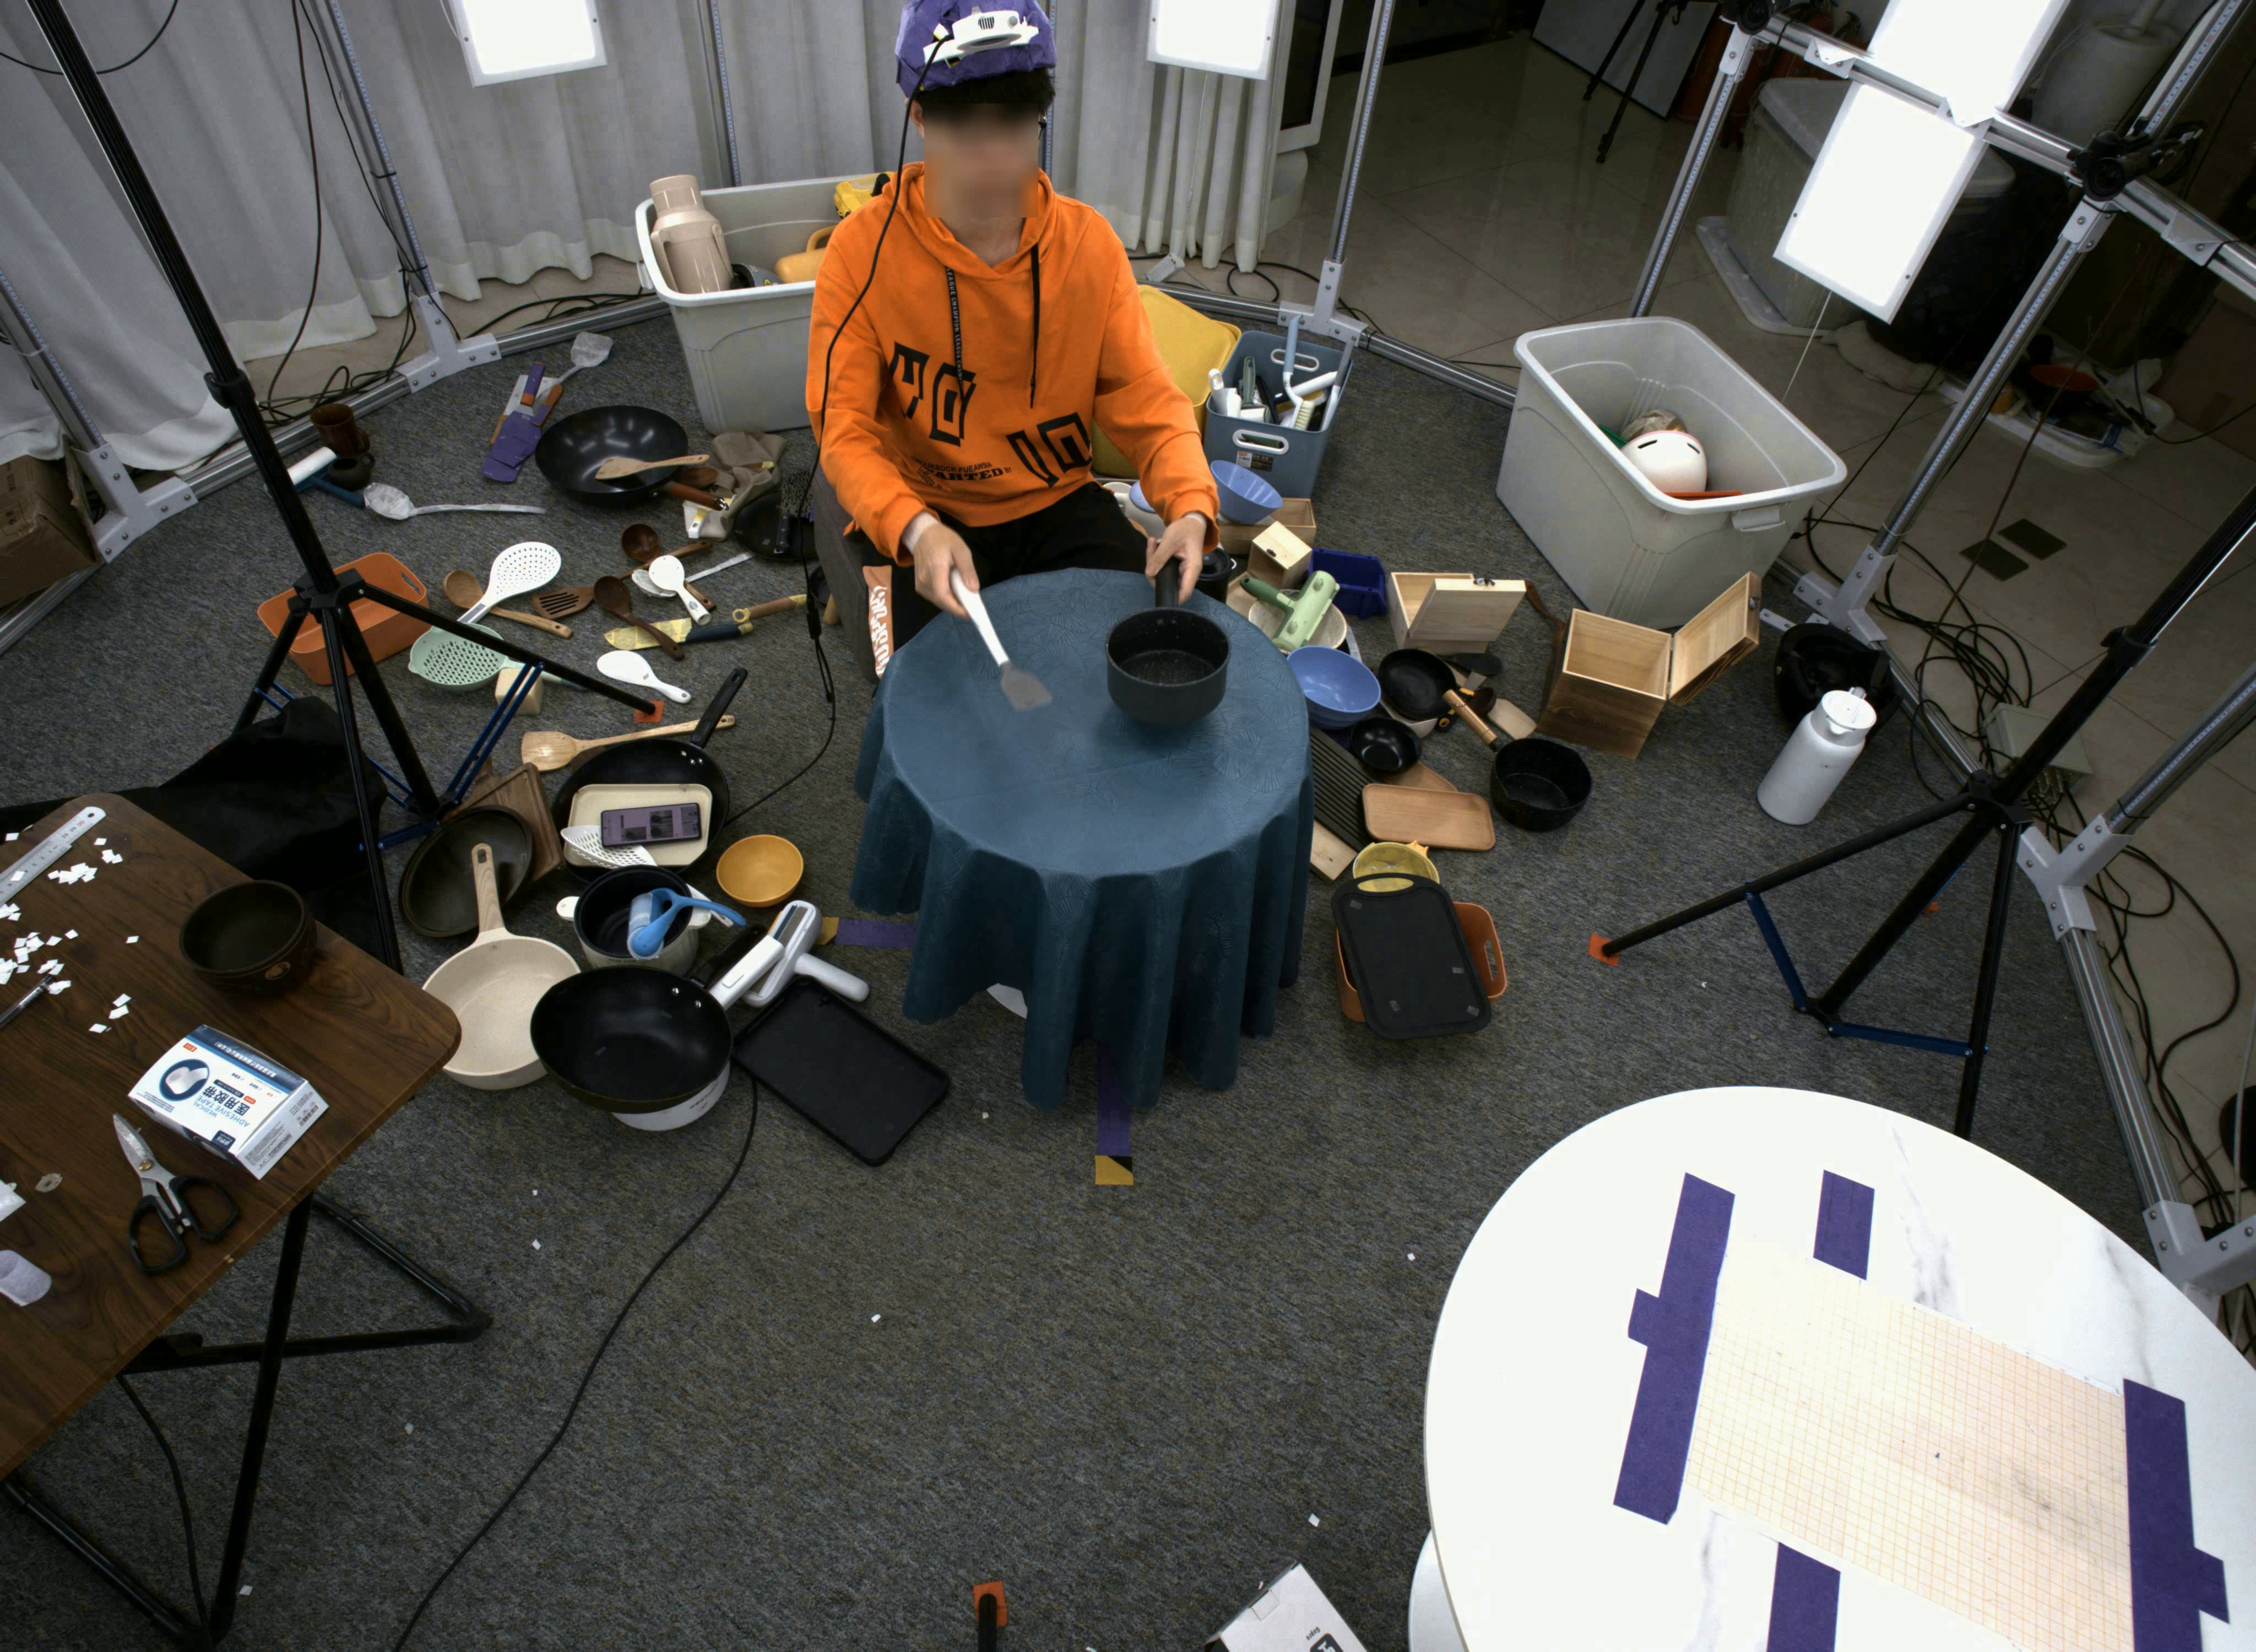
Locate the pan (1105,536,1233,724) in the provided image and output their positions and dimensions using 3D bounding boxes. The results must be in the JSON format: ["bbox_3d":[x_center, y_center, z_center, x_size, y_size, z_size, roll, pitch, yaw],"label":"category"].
[{"bbox_3d":[0.059,-0.278,1.802,0.172,0.084,0.337,3,46,2],"label":"pan"}]

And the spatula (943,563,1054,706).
[{"bbox_3d":[-0.178,-0.253,1.711,0.059,0.031,0.294,-14,51,-23],"label":"spatula"}]
